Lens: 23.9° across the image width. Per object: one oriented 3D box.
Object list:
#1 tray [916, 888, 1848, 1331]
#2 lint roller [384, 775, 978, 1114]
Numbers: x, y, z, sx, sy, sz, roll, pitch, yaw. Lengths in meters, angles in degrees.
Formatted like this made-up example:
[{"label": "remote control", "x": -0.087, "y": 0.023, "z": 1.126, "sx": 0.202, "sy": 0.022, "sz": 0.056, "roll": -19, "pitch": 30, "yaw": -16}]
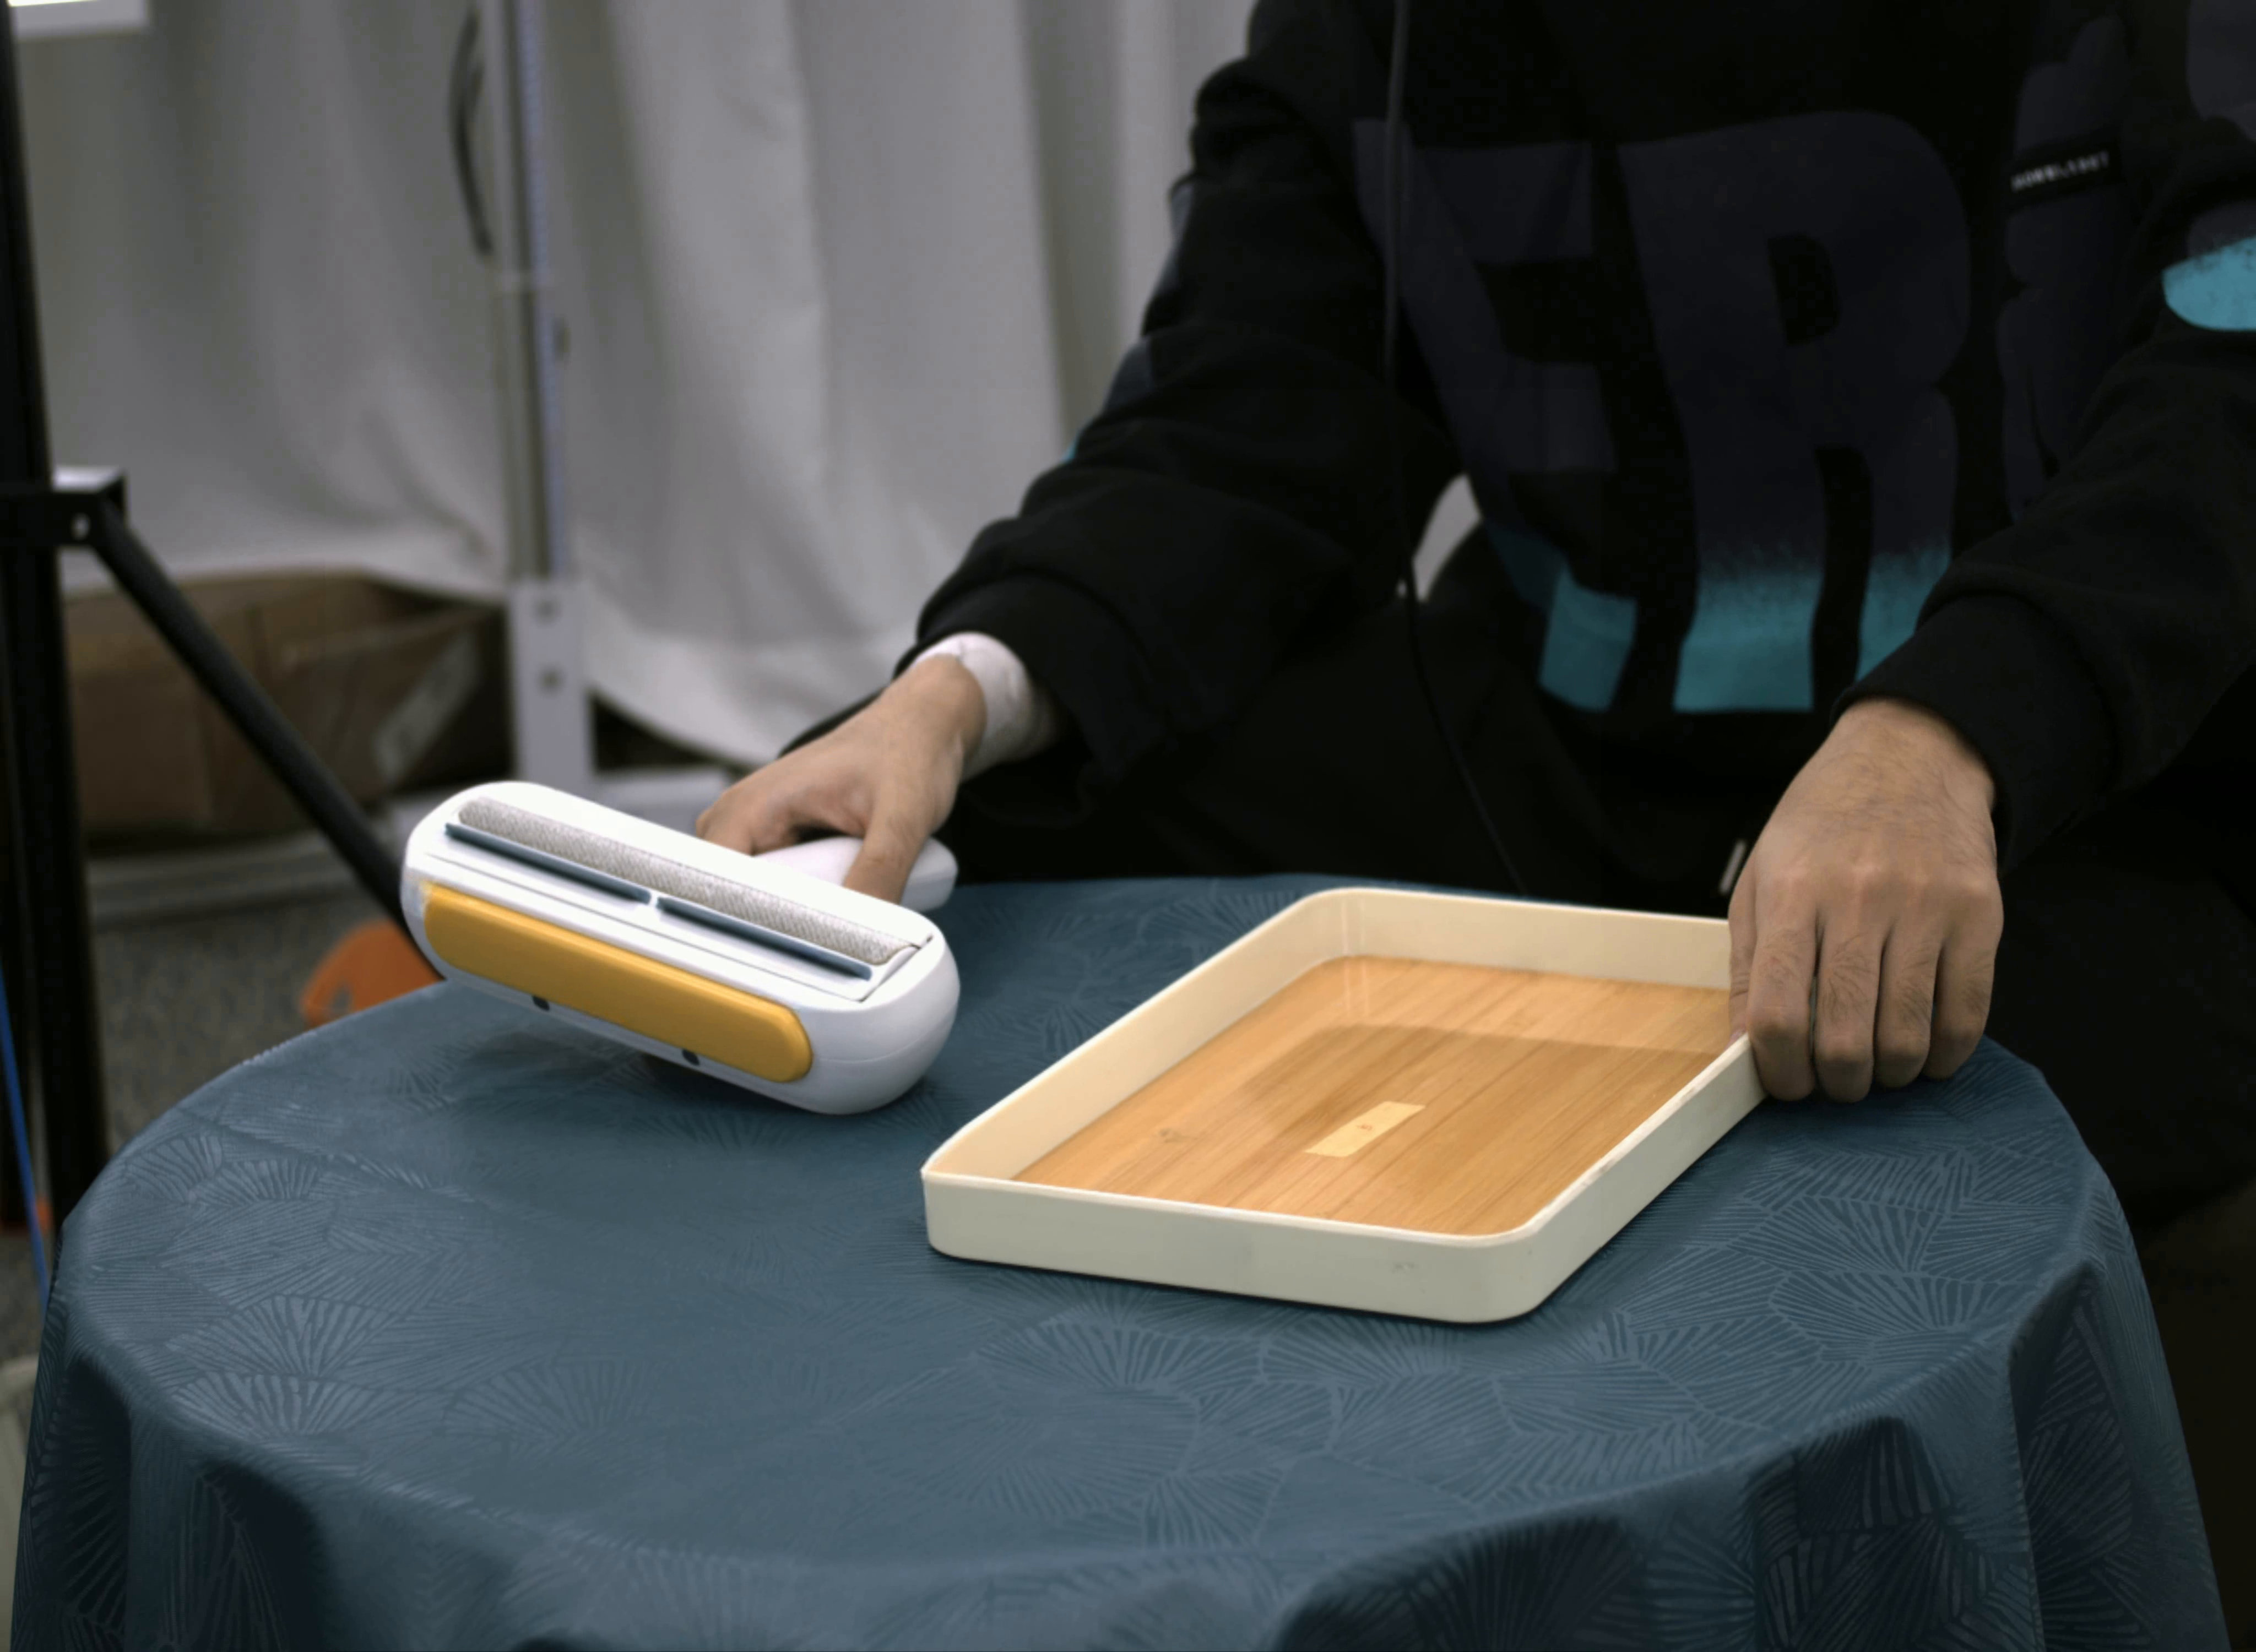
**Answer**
[{"label": "tray", "x": 0.083, "y": 0.080, "z": 1.593, "sx": 0.194, "sy": 0.027, "sz": 0.295, "roll": 6, "pitch": 18, "yaw": 26}, {"label": "lint roller", "x": -0.116, "y": 0.024, "z": 1.730, "sx": 0.197, "sy": 0.074, "sz": 0.189, "roll": 15, "pitch": 27, "yaw": 32}]
